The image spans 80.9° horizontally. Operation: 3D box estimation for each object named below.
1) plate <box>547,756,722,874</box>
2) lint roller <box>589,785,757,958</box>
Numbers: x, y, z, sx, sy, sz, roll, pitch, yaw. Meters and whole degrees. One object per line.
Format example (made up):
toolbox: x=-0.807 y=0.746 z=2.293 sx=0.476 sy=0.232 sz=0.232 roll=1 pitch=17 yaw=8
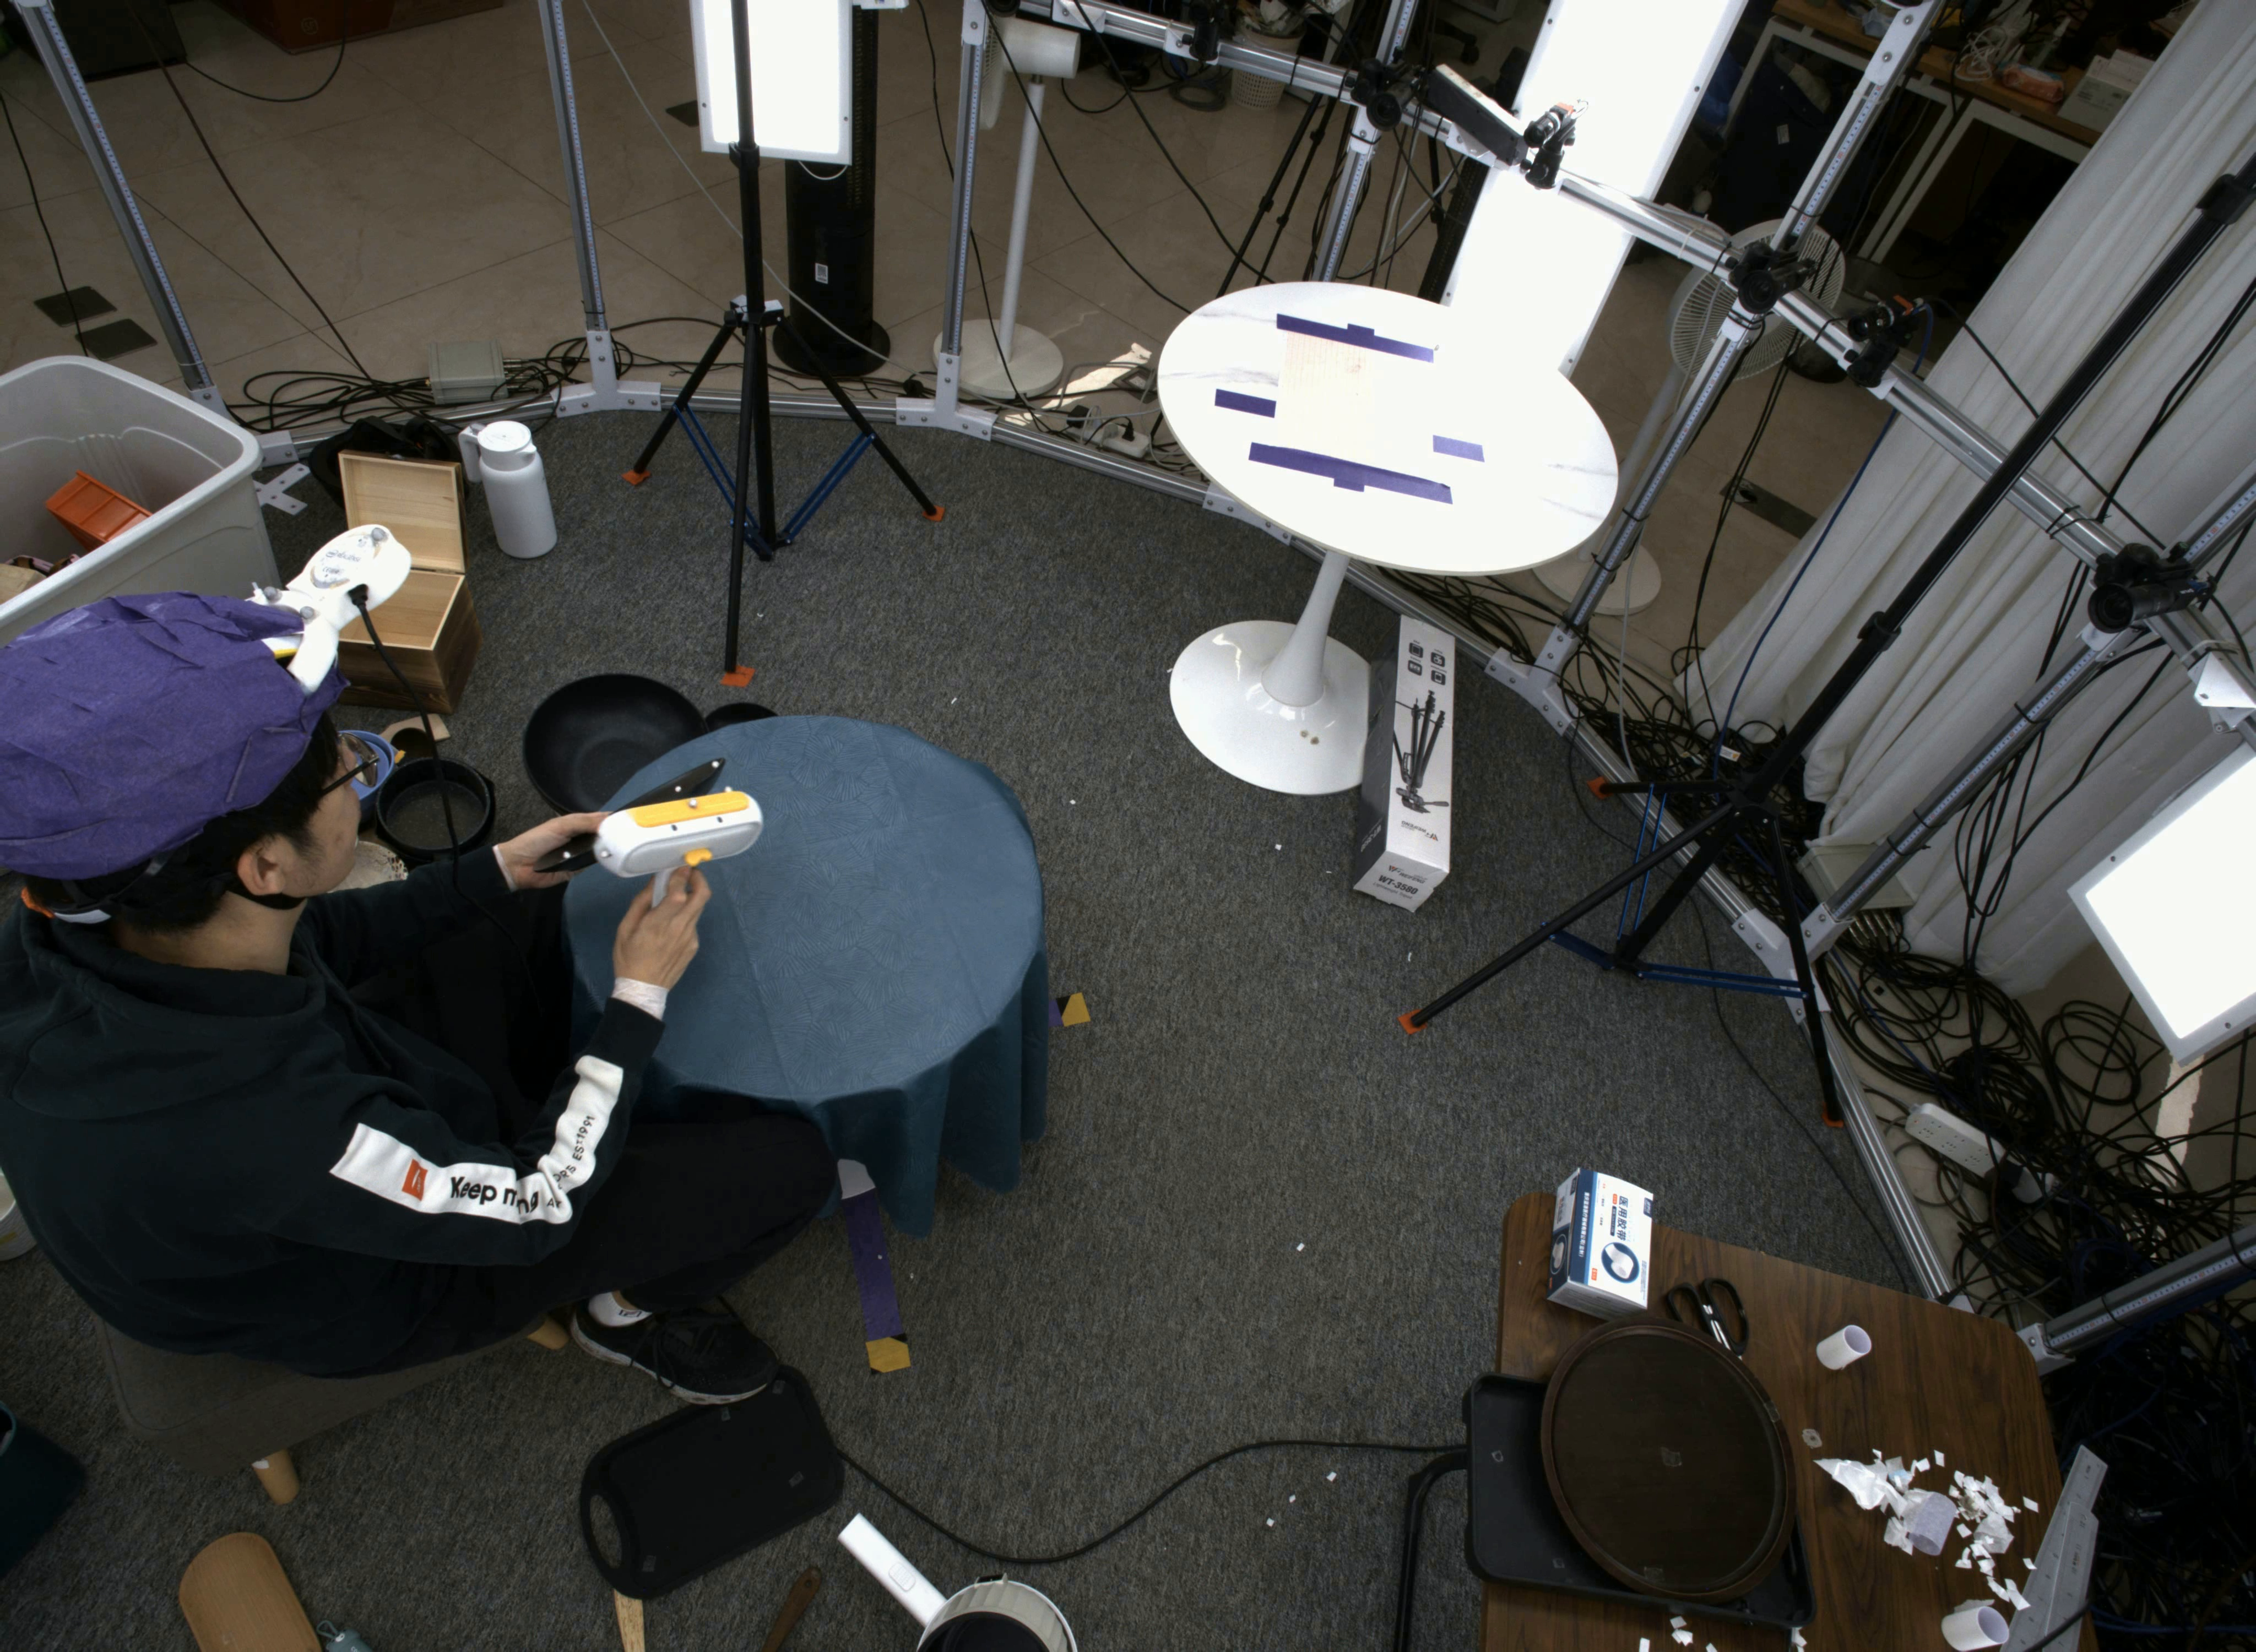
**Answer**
plate: x=-0.560 y=-0.009 z=1.449 sx=0.244 sy=0.237 sz=0.024 roll=-40 pitch=110 yaw=-35
lint roller: x=-0.490 y=0.052 z=1.372 sx=0.072 sy=0.195 sz=0.194 roll=38 pitch=33 yaw=18
